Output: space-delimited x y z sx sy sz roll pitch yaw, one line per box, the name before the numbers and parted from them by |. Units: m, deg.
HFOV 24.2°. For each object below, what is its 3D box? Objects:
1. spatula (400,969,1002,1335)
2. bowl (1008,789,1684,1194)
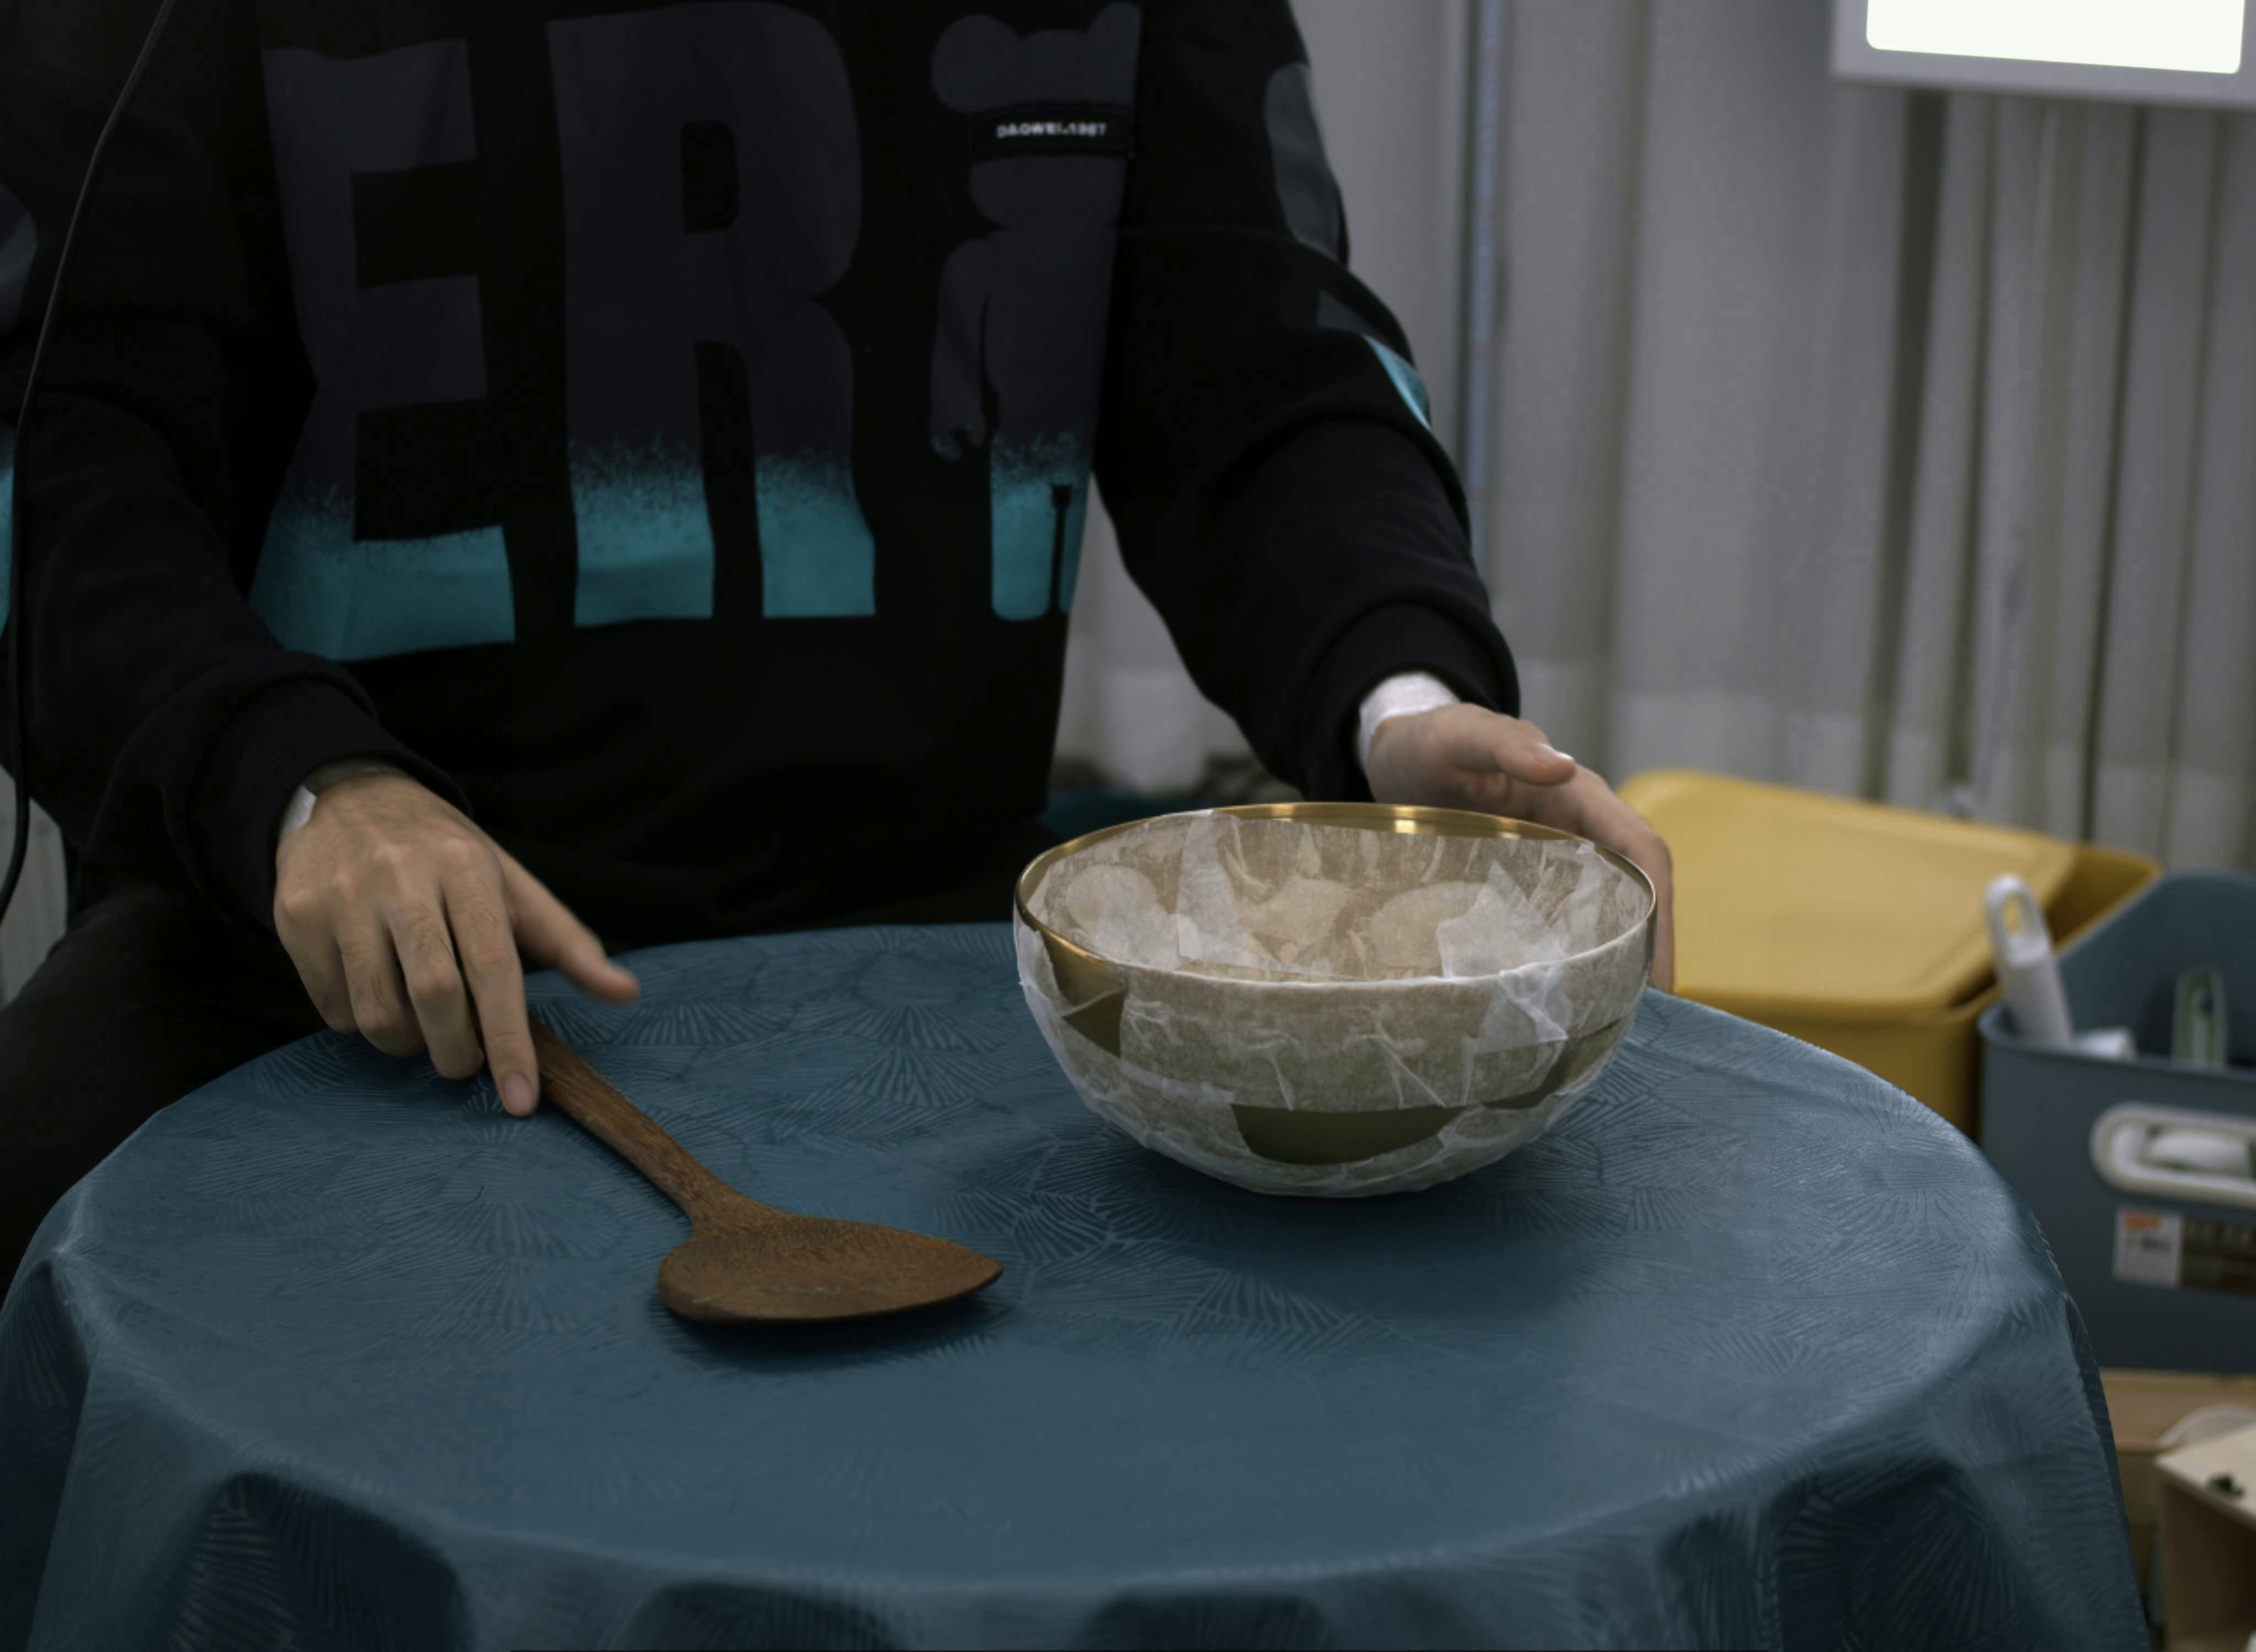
spatula | -0.156 0.096 1.653 0.096 0.016 0.381 -7 18 -26
bowl | 0.066 0.060 1.641 0.214 0.095 0.213 -1 16 1
